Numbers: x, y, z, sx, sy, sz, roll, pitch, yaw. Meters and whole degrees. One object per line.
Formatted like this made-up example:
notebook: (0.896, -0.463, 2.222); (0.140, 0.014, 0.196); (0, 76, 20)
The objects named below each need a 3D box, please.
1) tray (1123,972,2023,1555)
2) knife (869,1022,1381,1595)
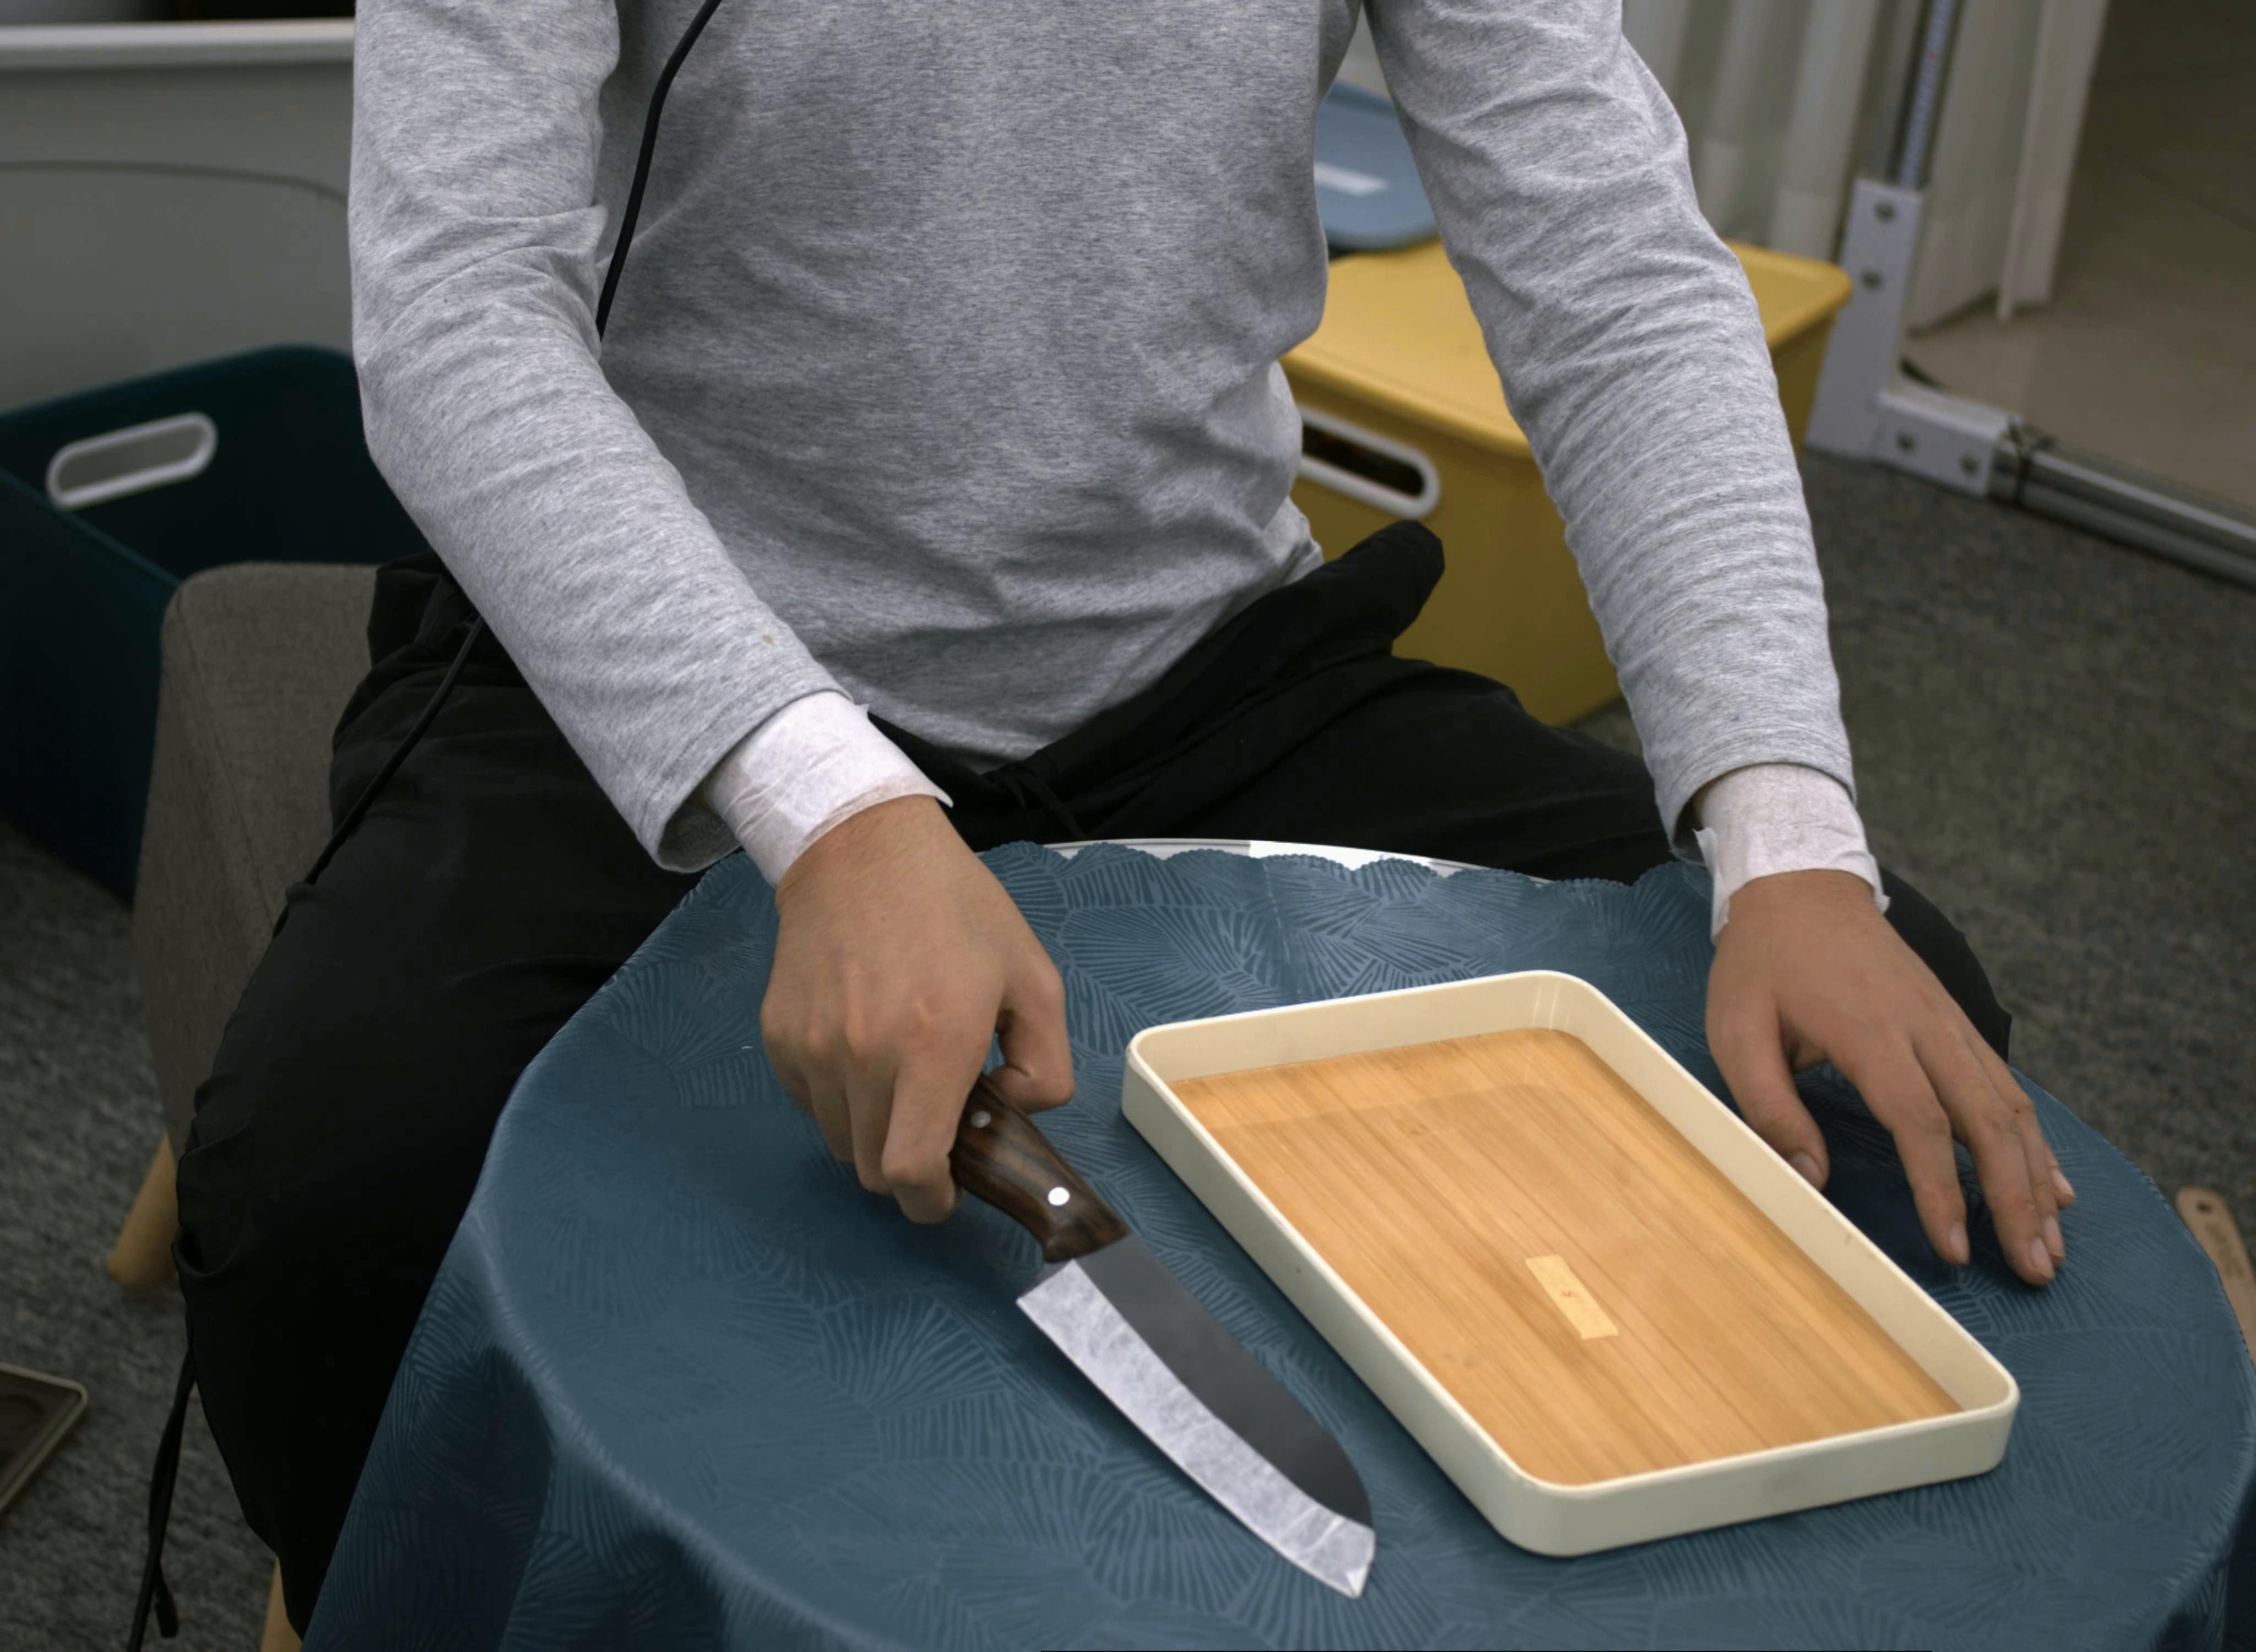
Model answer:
tray: (0.142, 0.139, 1.778); (0.190, 0.027, 0.303); (-7, 30, -25)
knife: (-0.004, 0.151, 1.700); (0.050, 0.020, 0.292); (-34, 48, -11)
